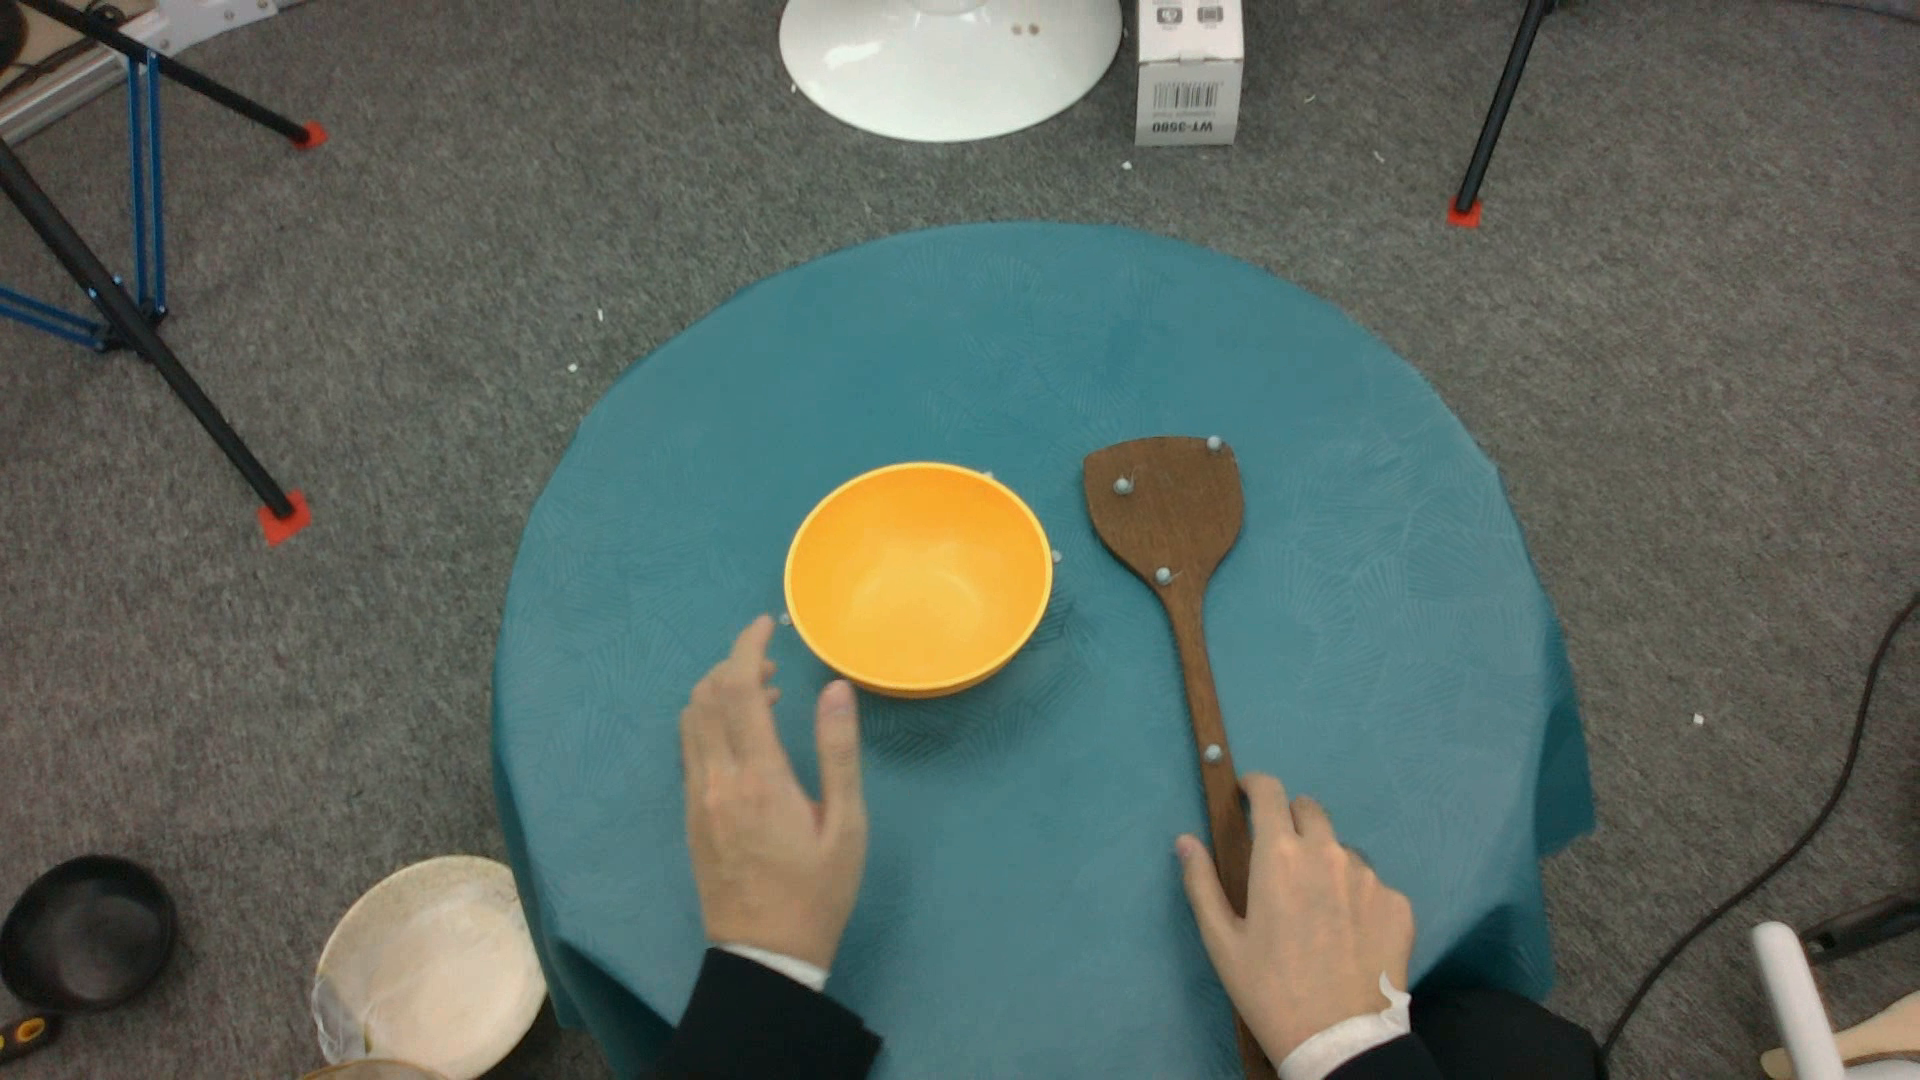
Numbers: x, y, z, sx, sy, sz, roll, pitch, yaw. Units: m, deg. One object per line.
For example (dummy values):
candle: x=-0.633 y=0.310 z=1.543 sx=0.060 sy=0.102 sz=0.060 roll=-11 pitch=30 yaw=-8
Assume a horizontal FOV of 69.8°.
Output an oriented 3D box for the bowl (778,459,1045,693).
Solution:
bowl: x=-0.025 y=0.029 z=0.764 sx=0.145 sy=0.060 sz=0.146 roll=-2 pitch=57 yaw=3

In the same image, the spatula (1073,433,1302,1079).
spatula: x=0.130 y=0.096 z=0.738 sx=0.096 sy=0.016 sz=0.387 roll=-5 pitch=56 yaw=-1
